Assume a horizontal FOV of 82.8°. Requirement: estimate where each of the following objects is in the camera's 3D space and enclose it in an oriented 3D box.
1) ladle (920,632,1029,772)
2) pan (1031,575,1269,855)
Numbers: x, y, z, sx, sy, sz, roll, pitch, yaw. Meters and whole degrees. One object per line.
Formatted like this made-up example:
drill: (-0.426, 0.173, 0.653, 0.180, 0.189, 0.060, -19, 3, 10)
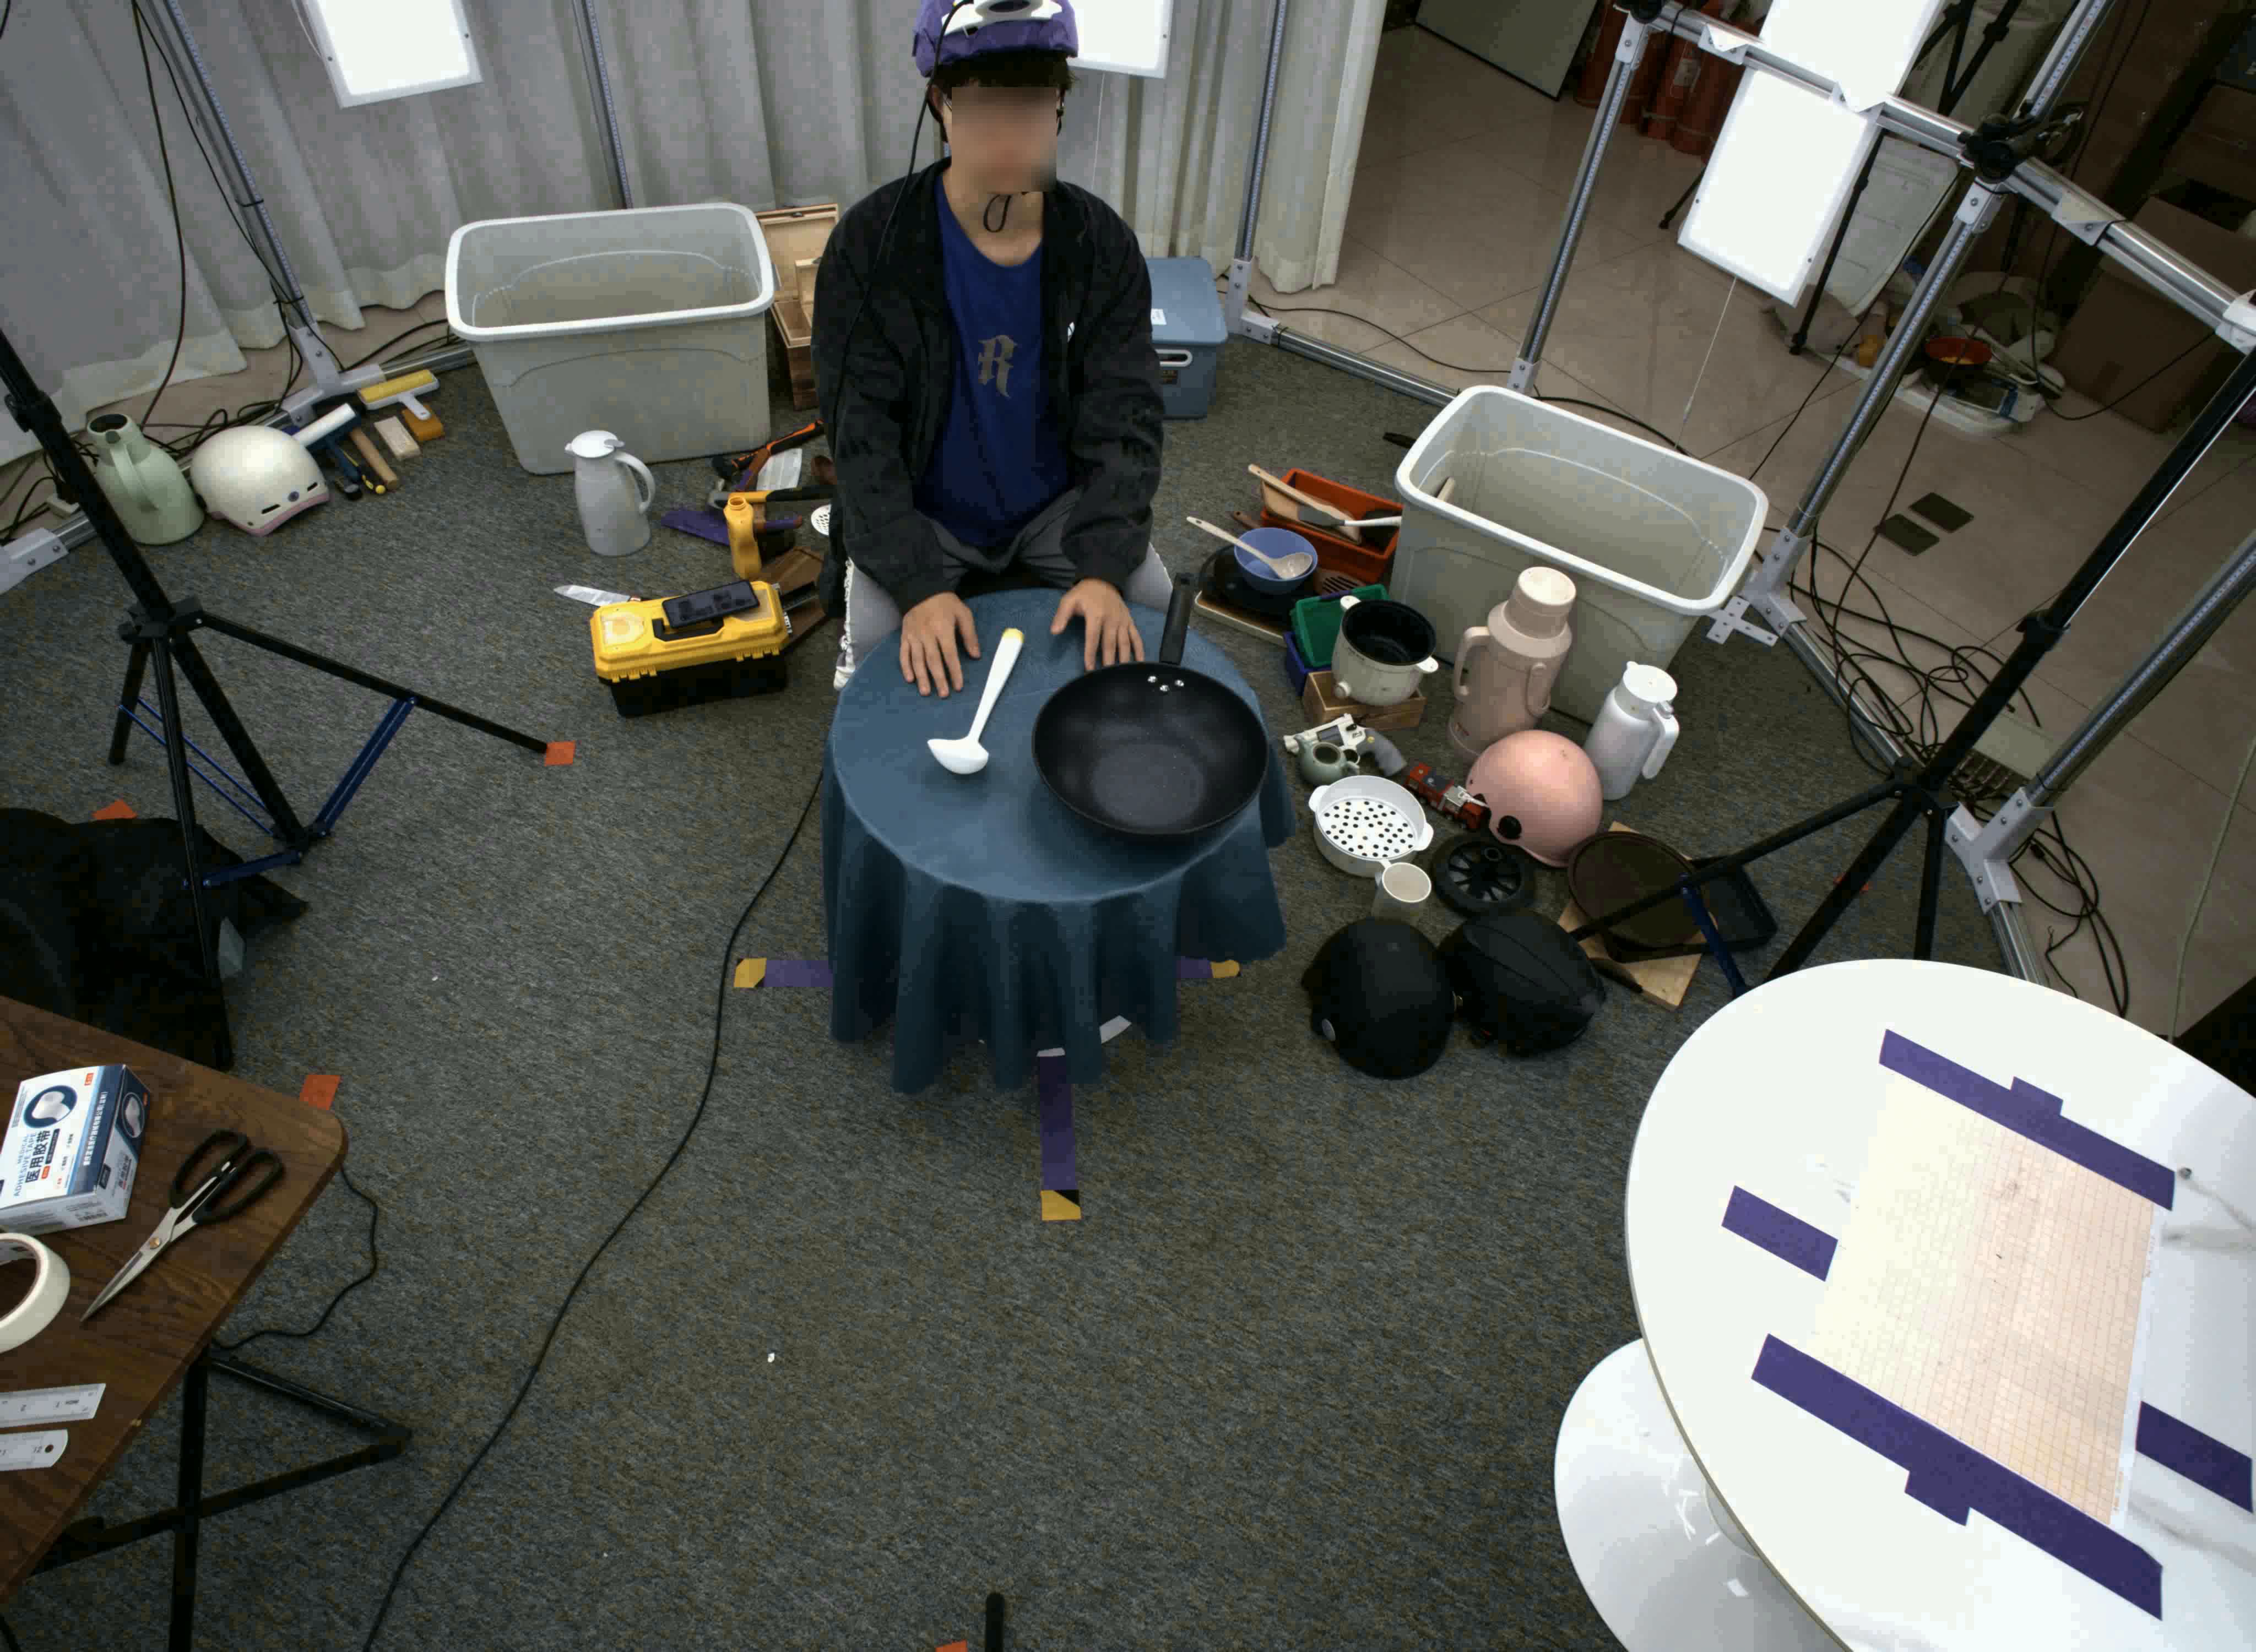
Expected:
ladle: (-0.198, -0.181, 1.776, 0.090, 0.068, 0.299, 12, 48, 10)
pan: (0.041, -0.145, 1.734, 0.310, 0.109, 0.488, 10, 51, 3)
